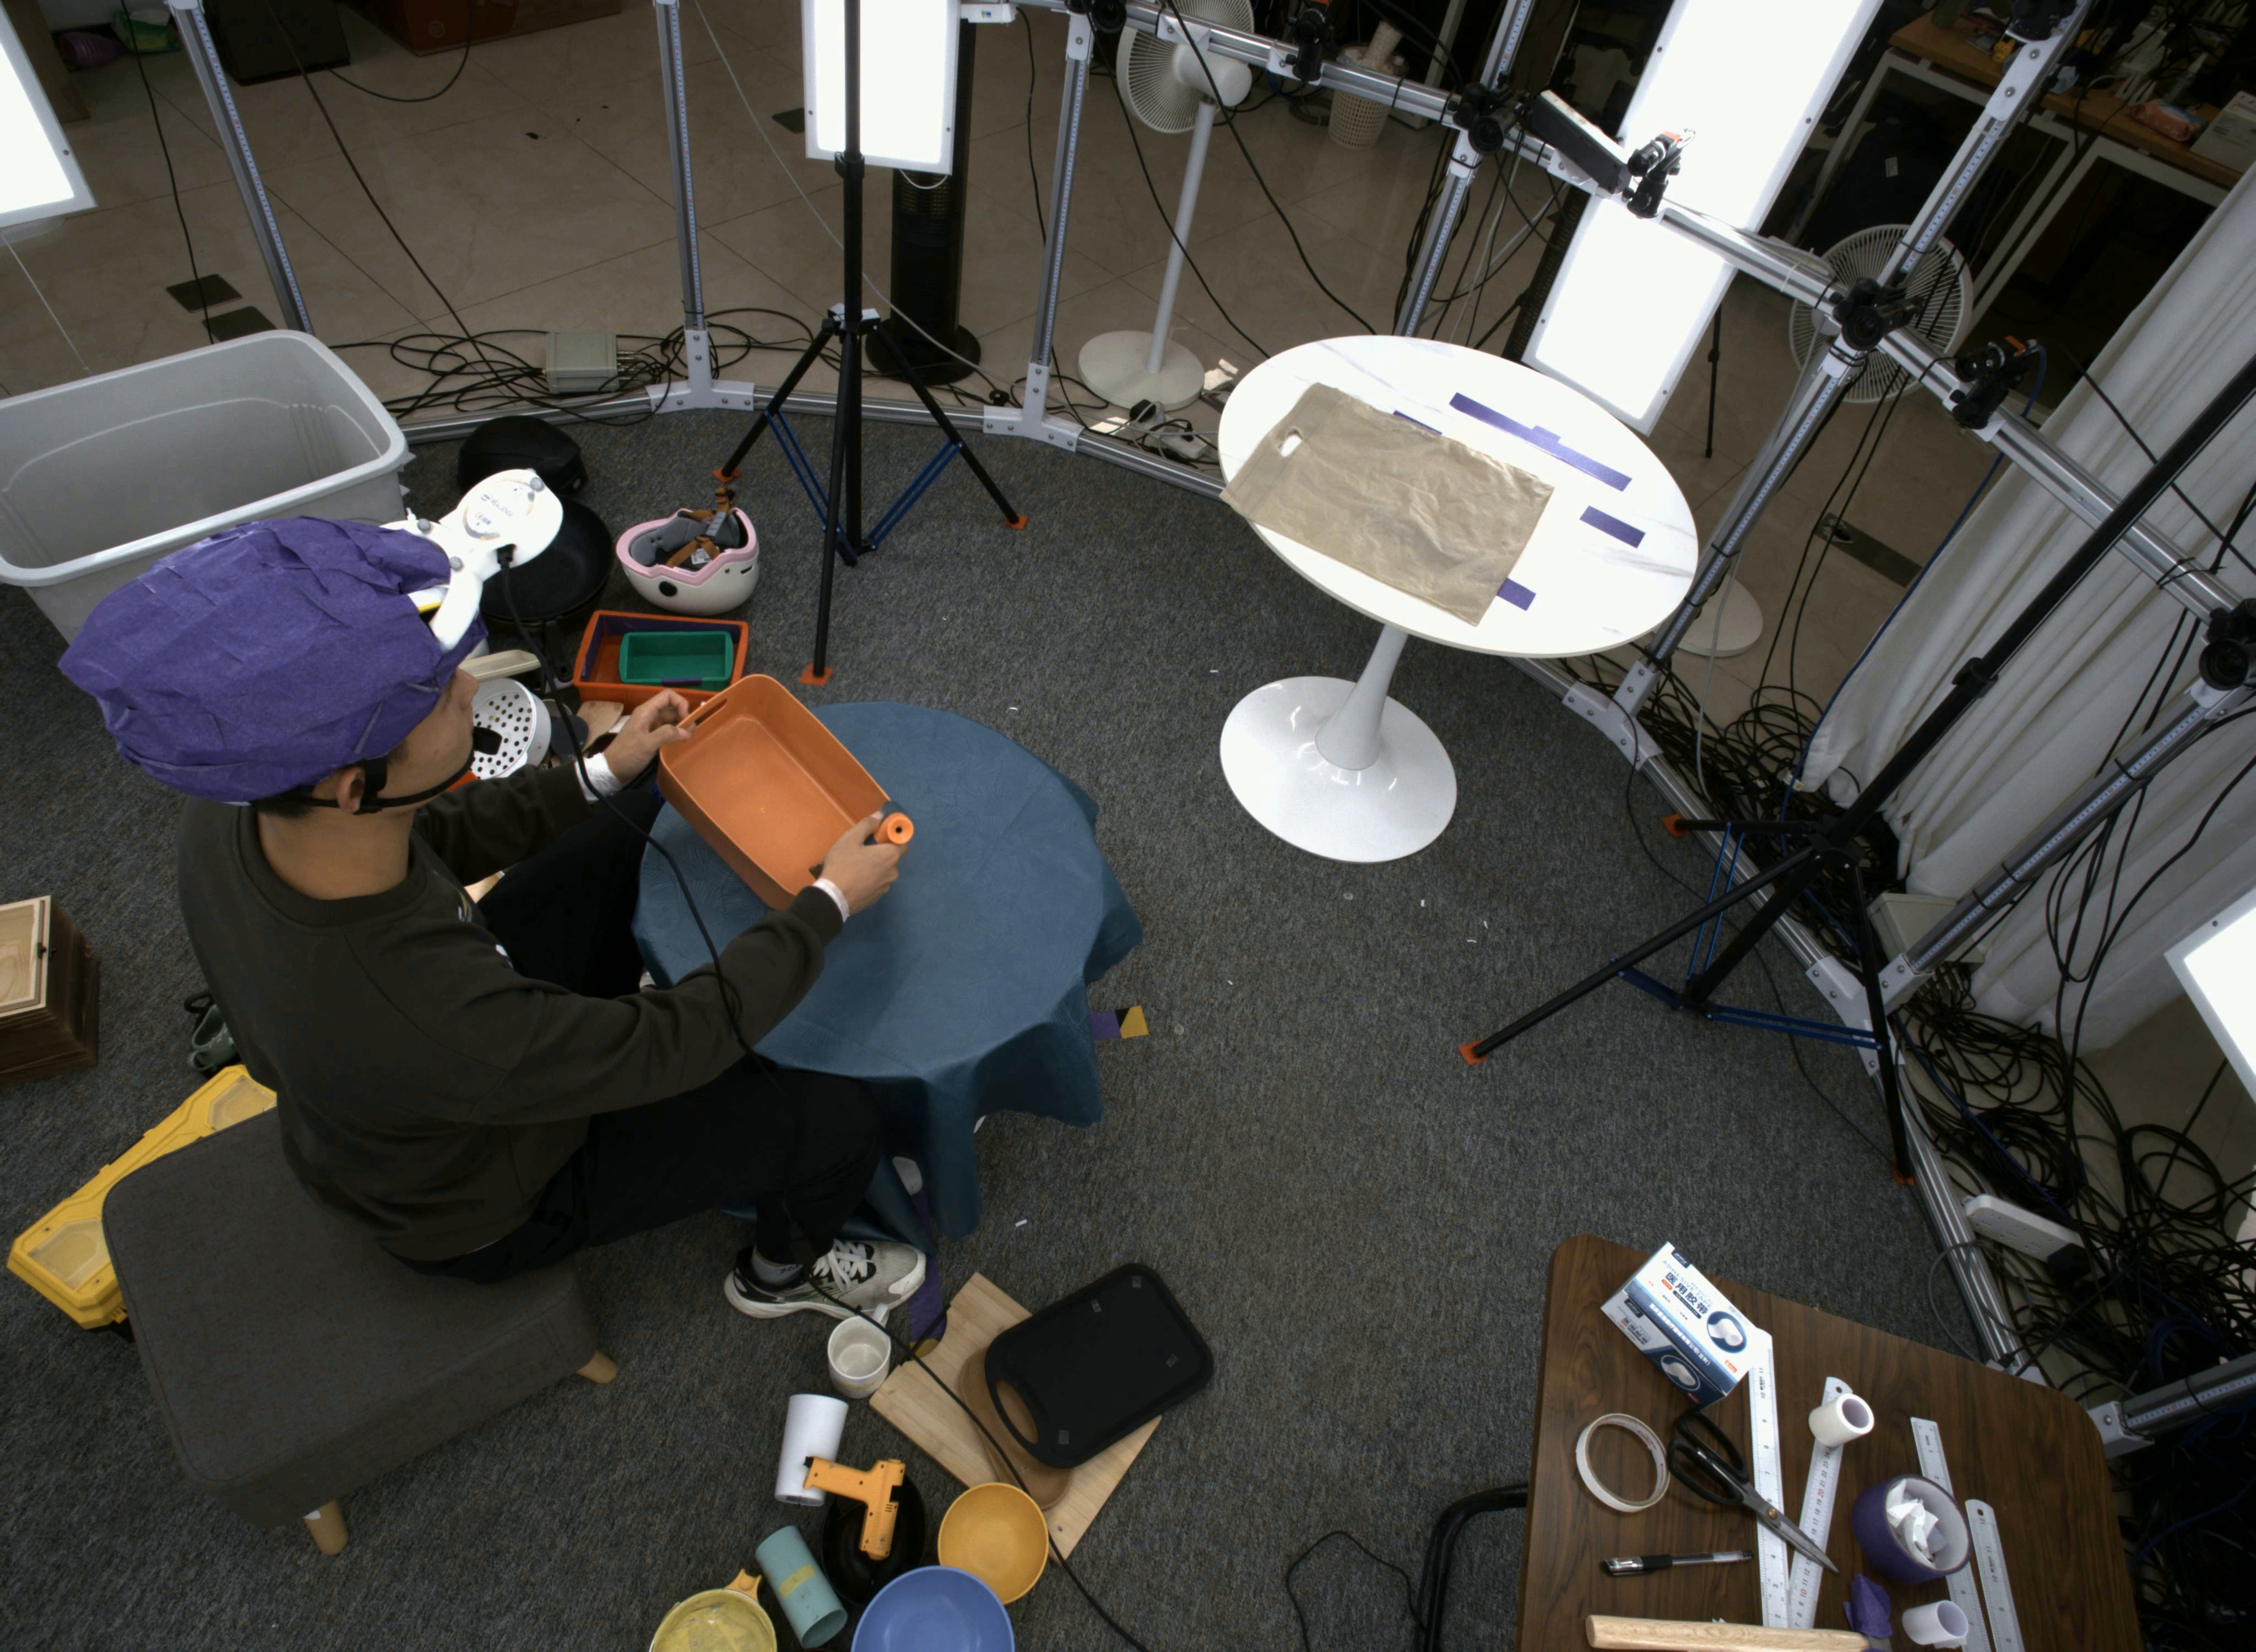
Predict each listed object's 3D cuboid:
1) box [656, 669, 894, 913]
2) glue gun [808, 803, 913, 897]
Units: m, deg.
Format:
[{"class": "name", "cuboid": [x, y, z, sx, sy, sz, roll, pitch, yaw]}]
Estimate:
[{"class": "box", "cuboid": [-0.448, -0.036, 1.623, 0.276, 0.101, 0.199, 47, 55, -8]}, {"class": "glue gun", "cuboid": [-0.315, 0.022, 1.557, 0.140, 0.114, 0.042, -43, 111, -22]}]
